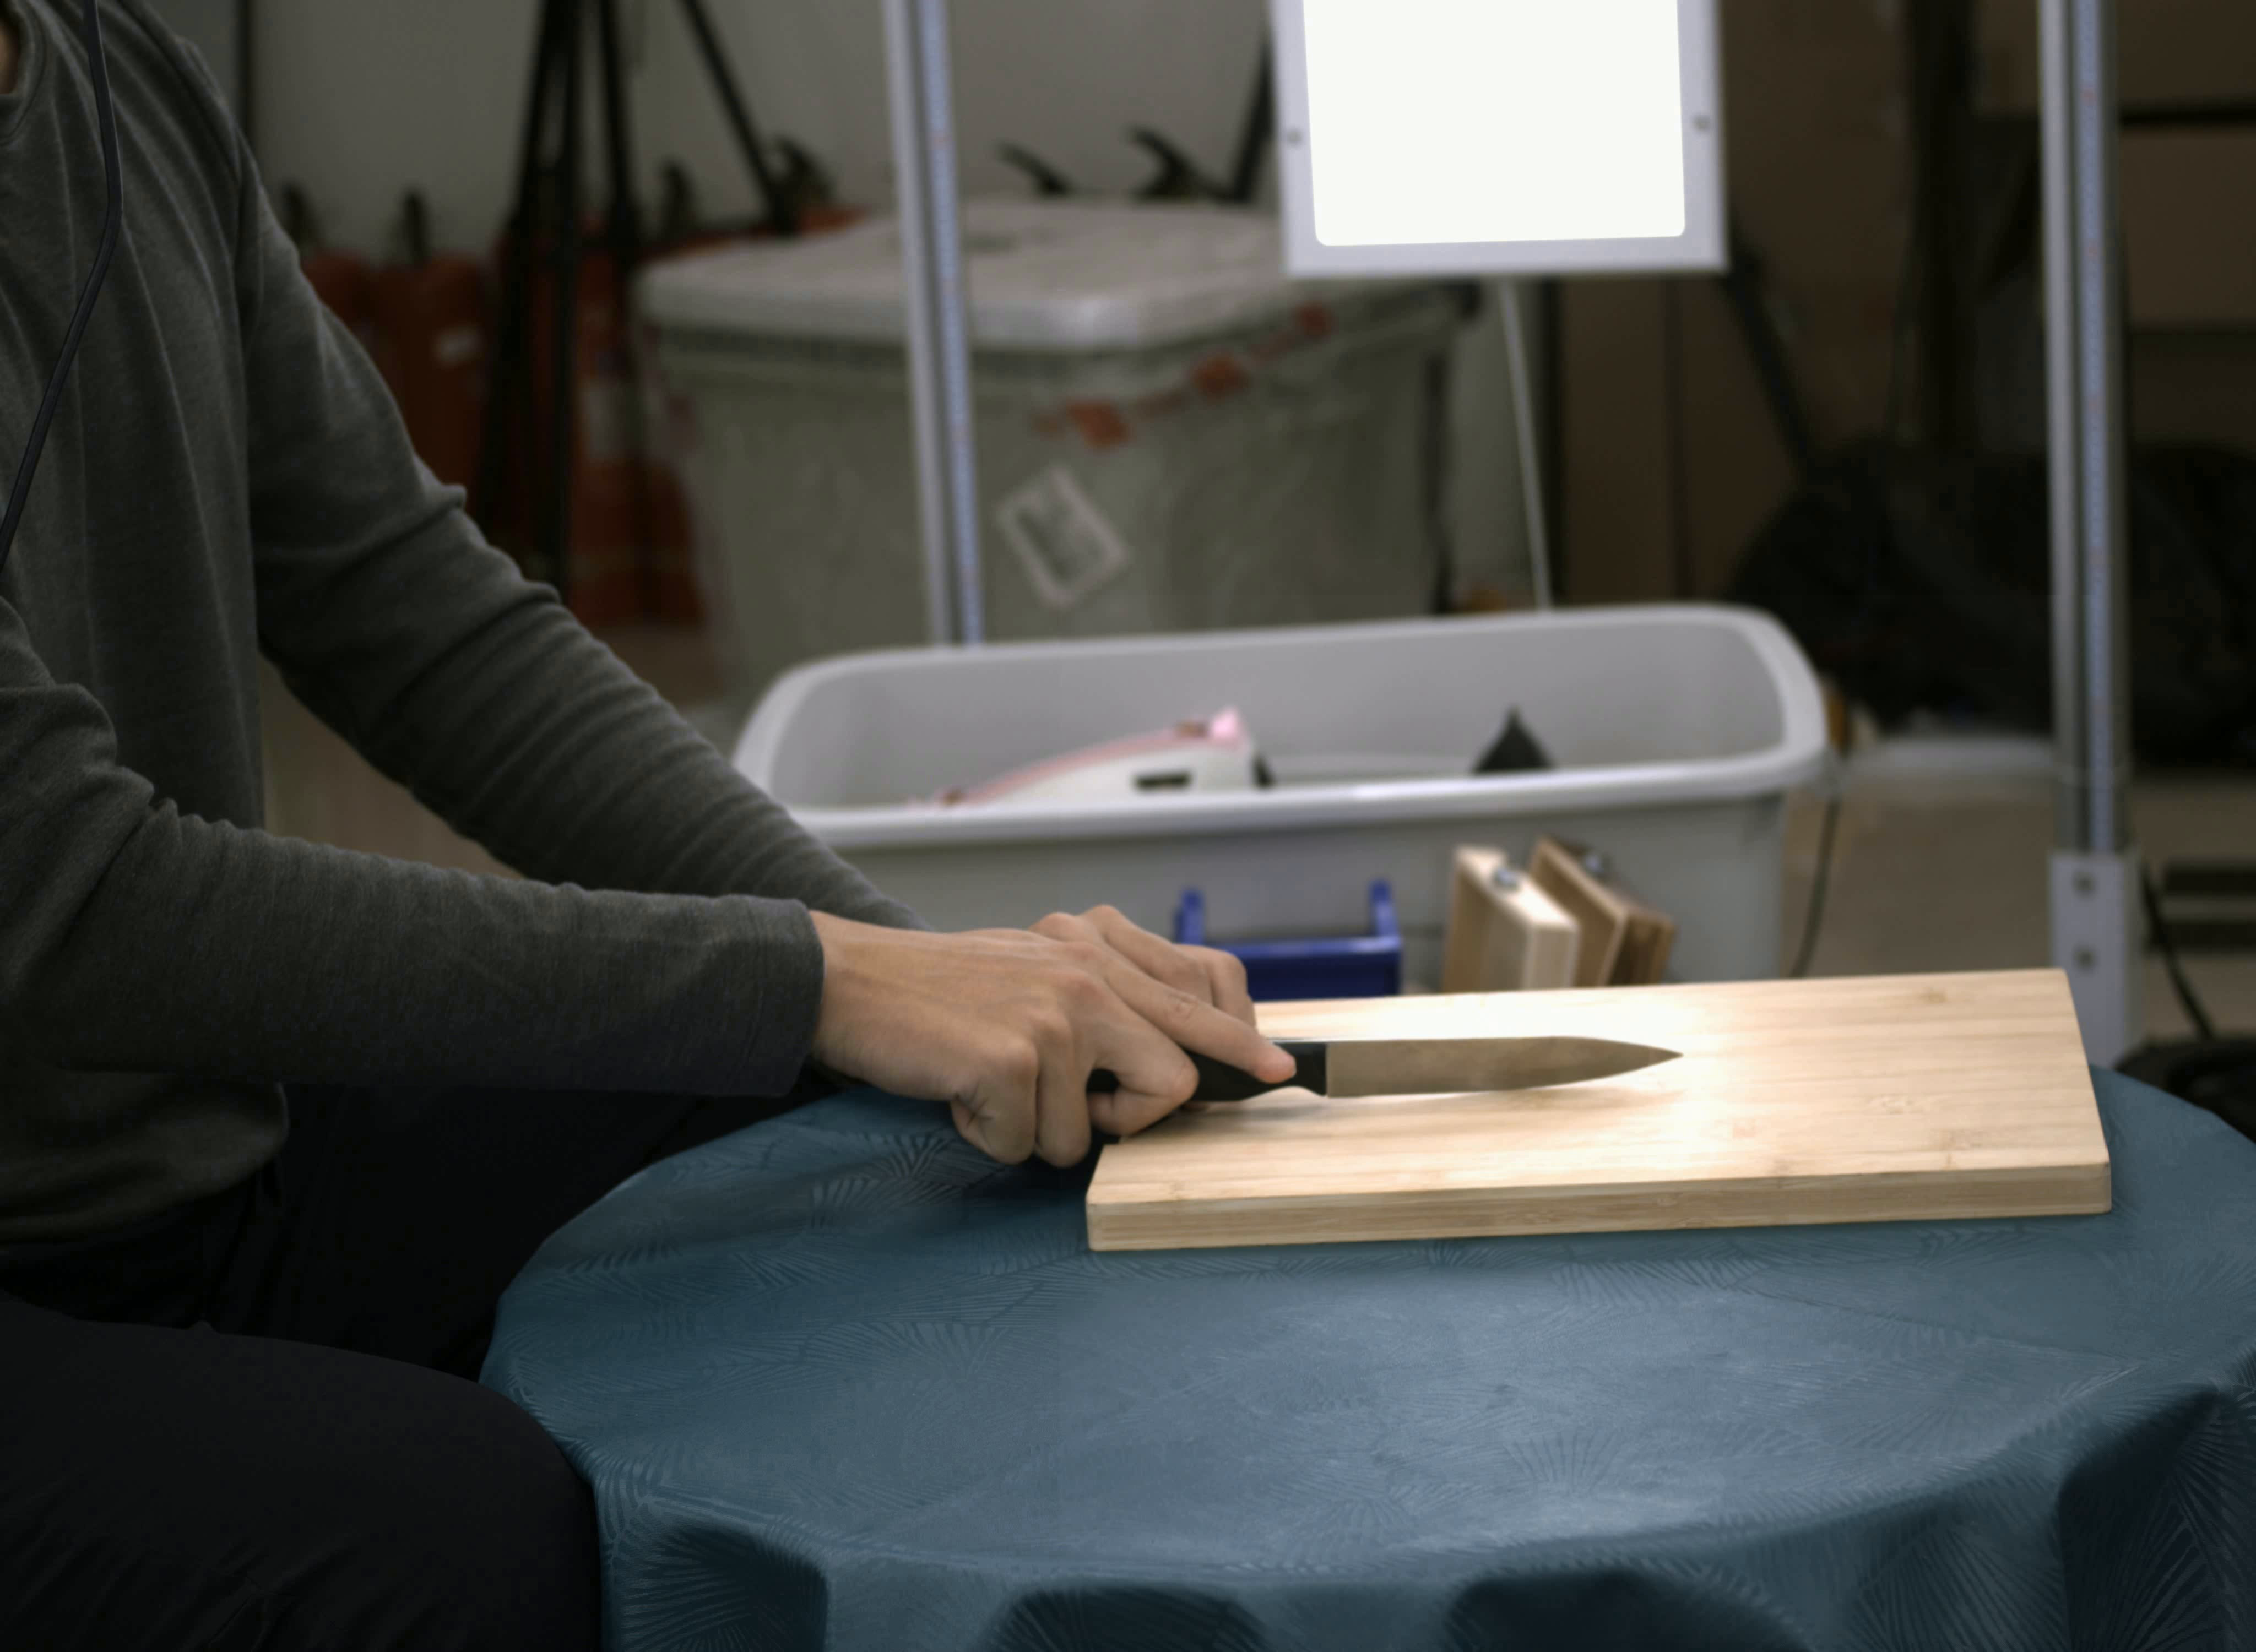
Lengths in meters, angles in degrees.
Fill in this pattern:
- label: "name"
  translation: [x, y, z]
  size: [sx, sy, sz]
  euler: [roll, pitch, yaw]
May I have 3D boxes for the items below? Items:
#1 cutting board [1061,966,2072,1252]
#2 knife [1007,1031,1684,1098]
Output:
- label: "cutting board"
  translation: [0.161, 0.098, 1.928]
  size: [0.350, 0.023, 0.249]
  euler: [-3, 13, 8]
- label: "knife"
  translation: [0.076, 0.082, 1.916]
  size: [0.237, 0.024, 0.016]
  euler: [-1, 19, 0]
